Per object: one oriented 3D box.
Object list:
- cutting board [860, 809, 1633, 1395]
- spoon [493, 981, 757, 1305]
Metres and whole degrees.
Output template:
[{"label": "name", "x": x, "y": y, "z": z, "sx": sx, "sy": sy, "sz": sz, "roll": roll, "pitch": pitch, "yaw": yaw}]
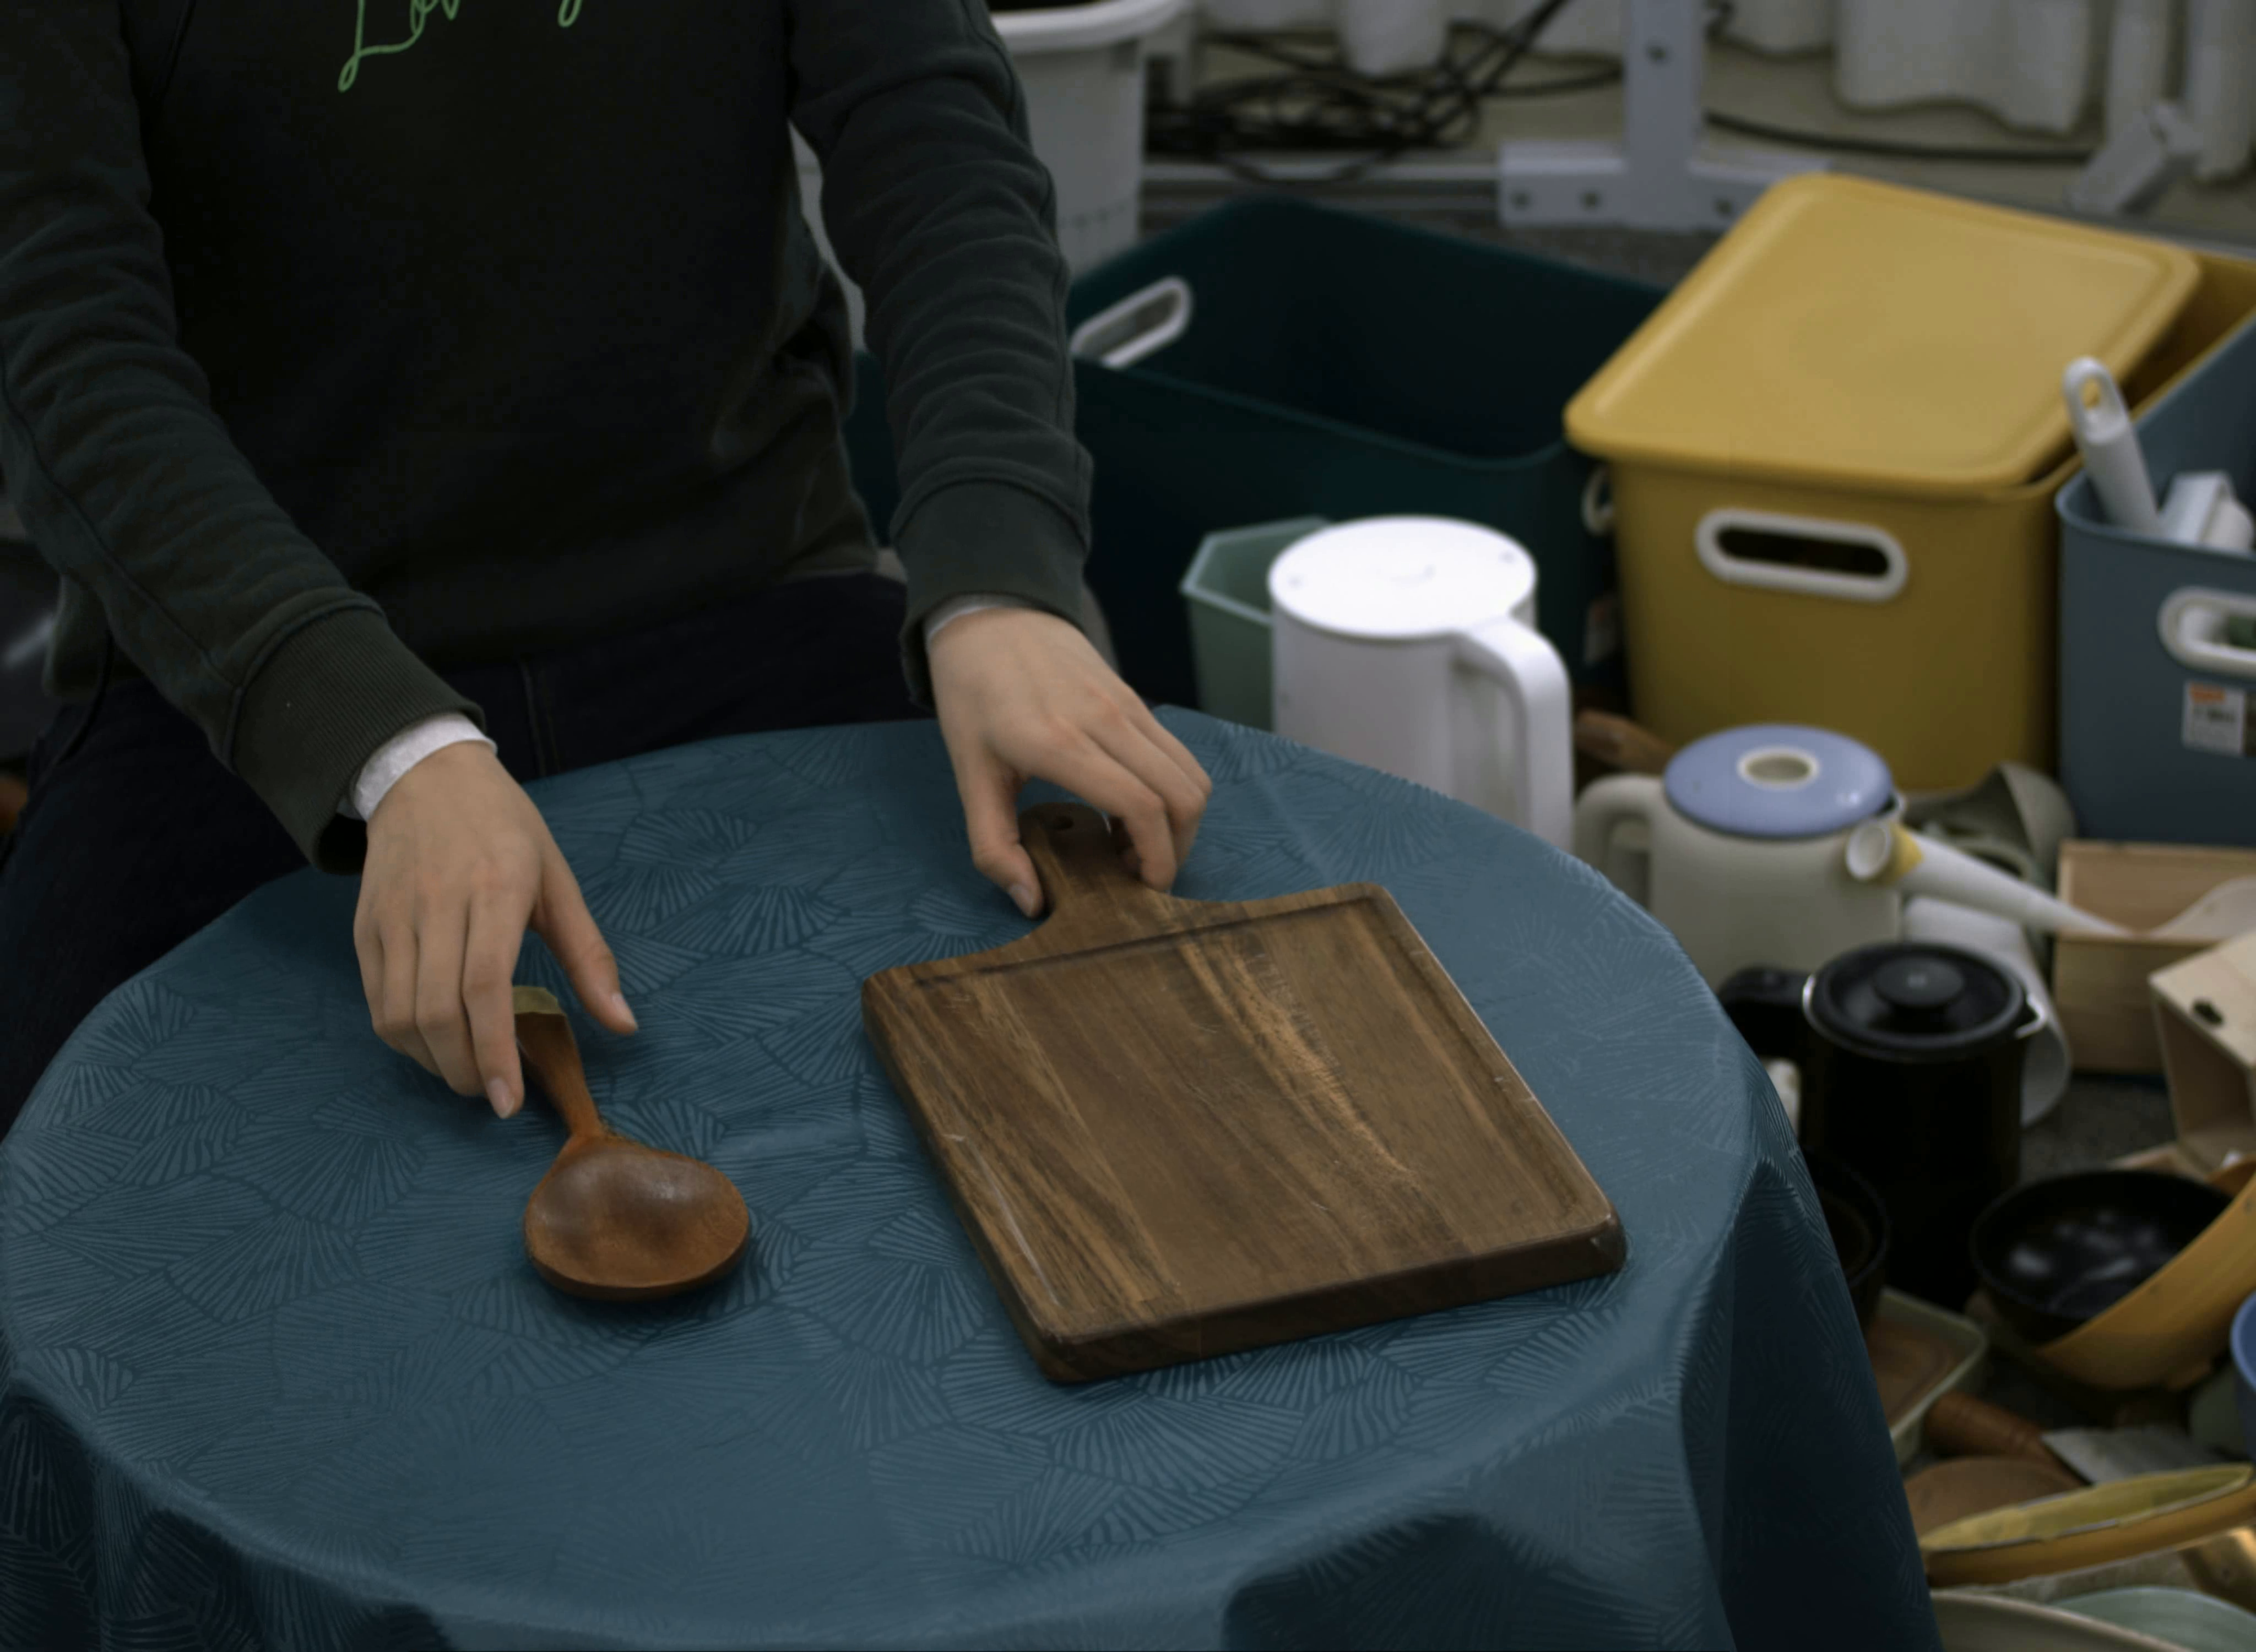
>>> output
[{"label": "cutting board", "x": 0.020, "y": 0.078, "z": 1.925, "sx": 0.201, "sy": 0.023, "sz": 0.355, "roll": -11, "pitch": 28, "yaw": -13}, {"label": "spoon", "x": -0.179, "y": 0.107, "z": 1.889, "sx": 0.075, "sy": 0.017, "sz": 0.218, "roll": -13, "pitch": 29, "yaw": -14}]
